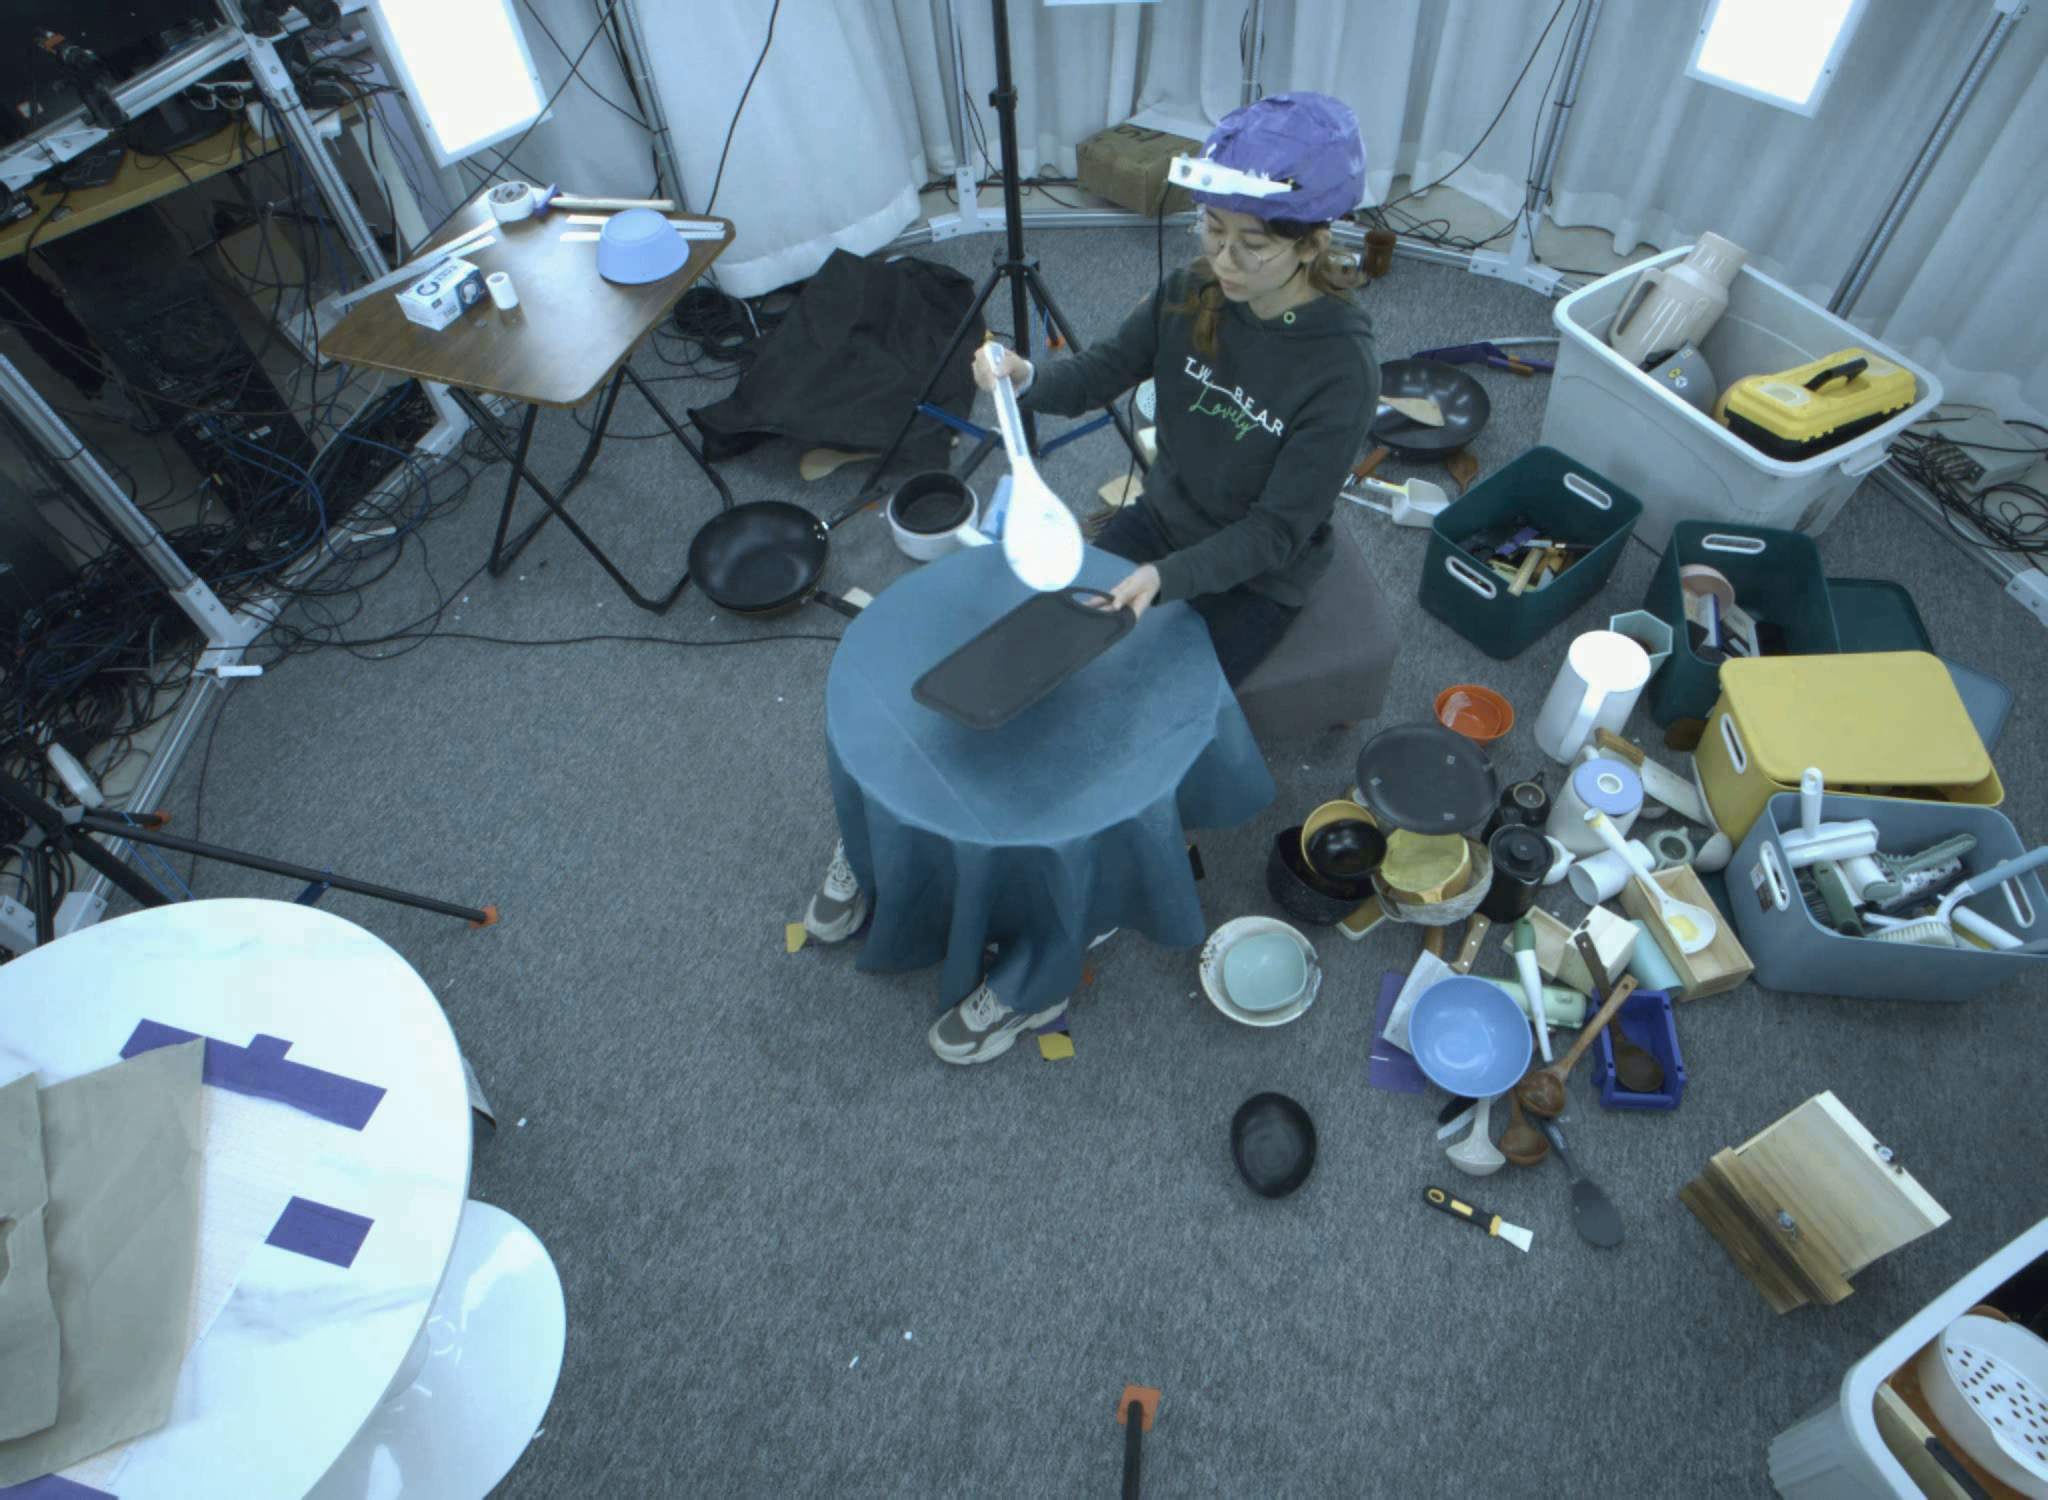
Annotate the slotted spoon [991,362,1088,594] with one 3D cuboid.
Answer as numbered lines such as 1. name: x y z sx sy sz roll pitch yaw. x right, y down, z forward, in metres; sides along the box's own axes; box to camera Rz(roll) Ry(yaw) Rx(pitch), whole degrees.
1. slotted spoon: 0.005 -0.390 1.715 0.138 0.352 0.045 -23 16 -40

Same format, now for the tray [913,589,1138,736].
1. tray: 0.006 -0.136 1.746 0.328 0.010 0.206 -38 42 -24
